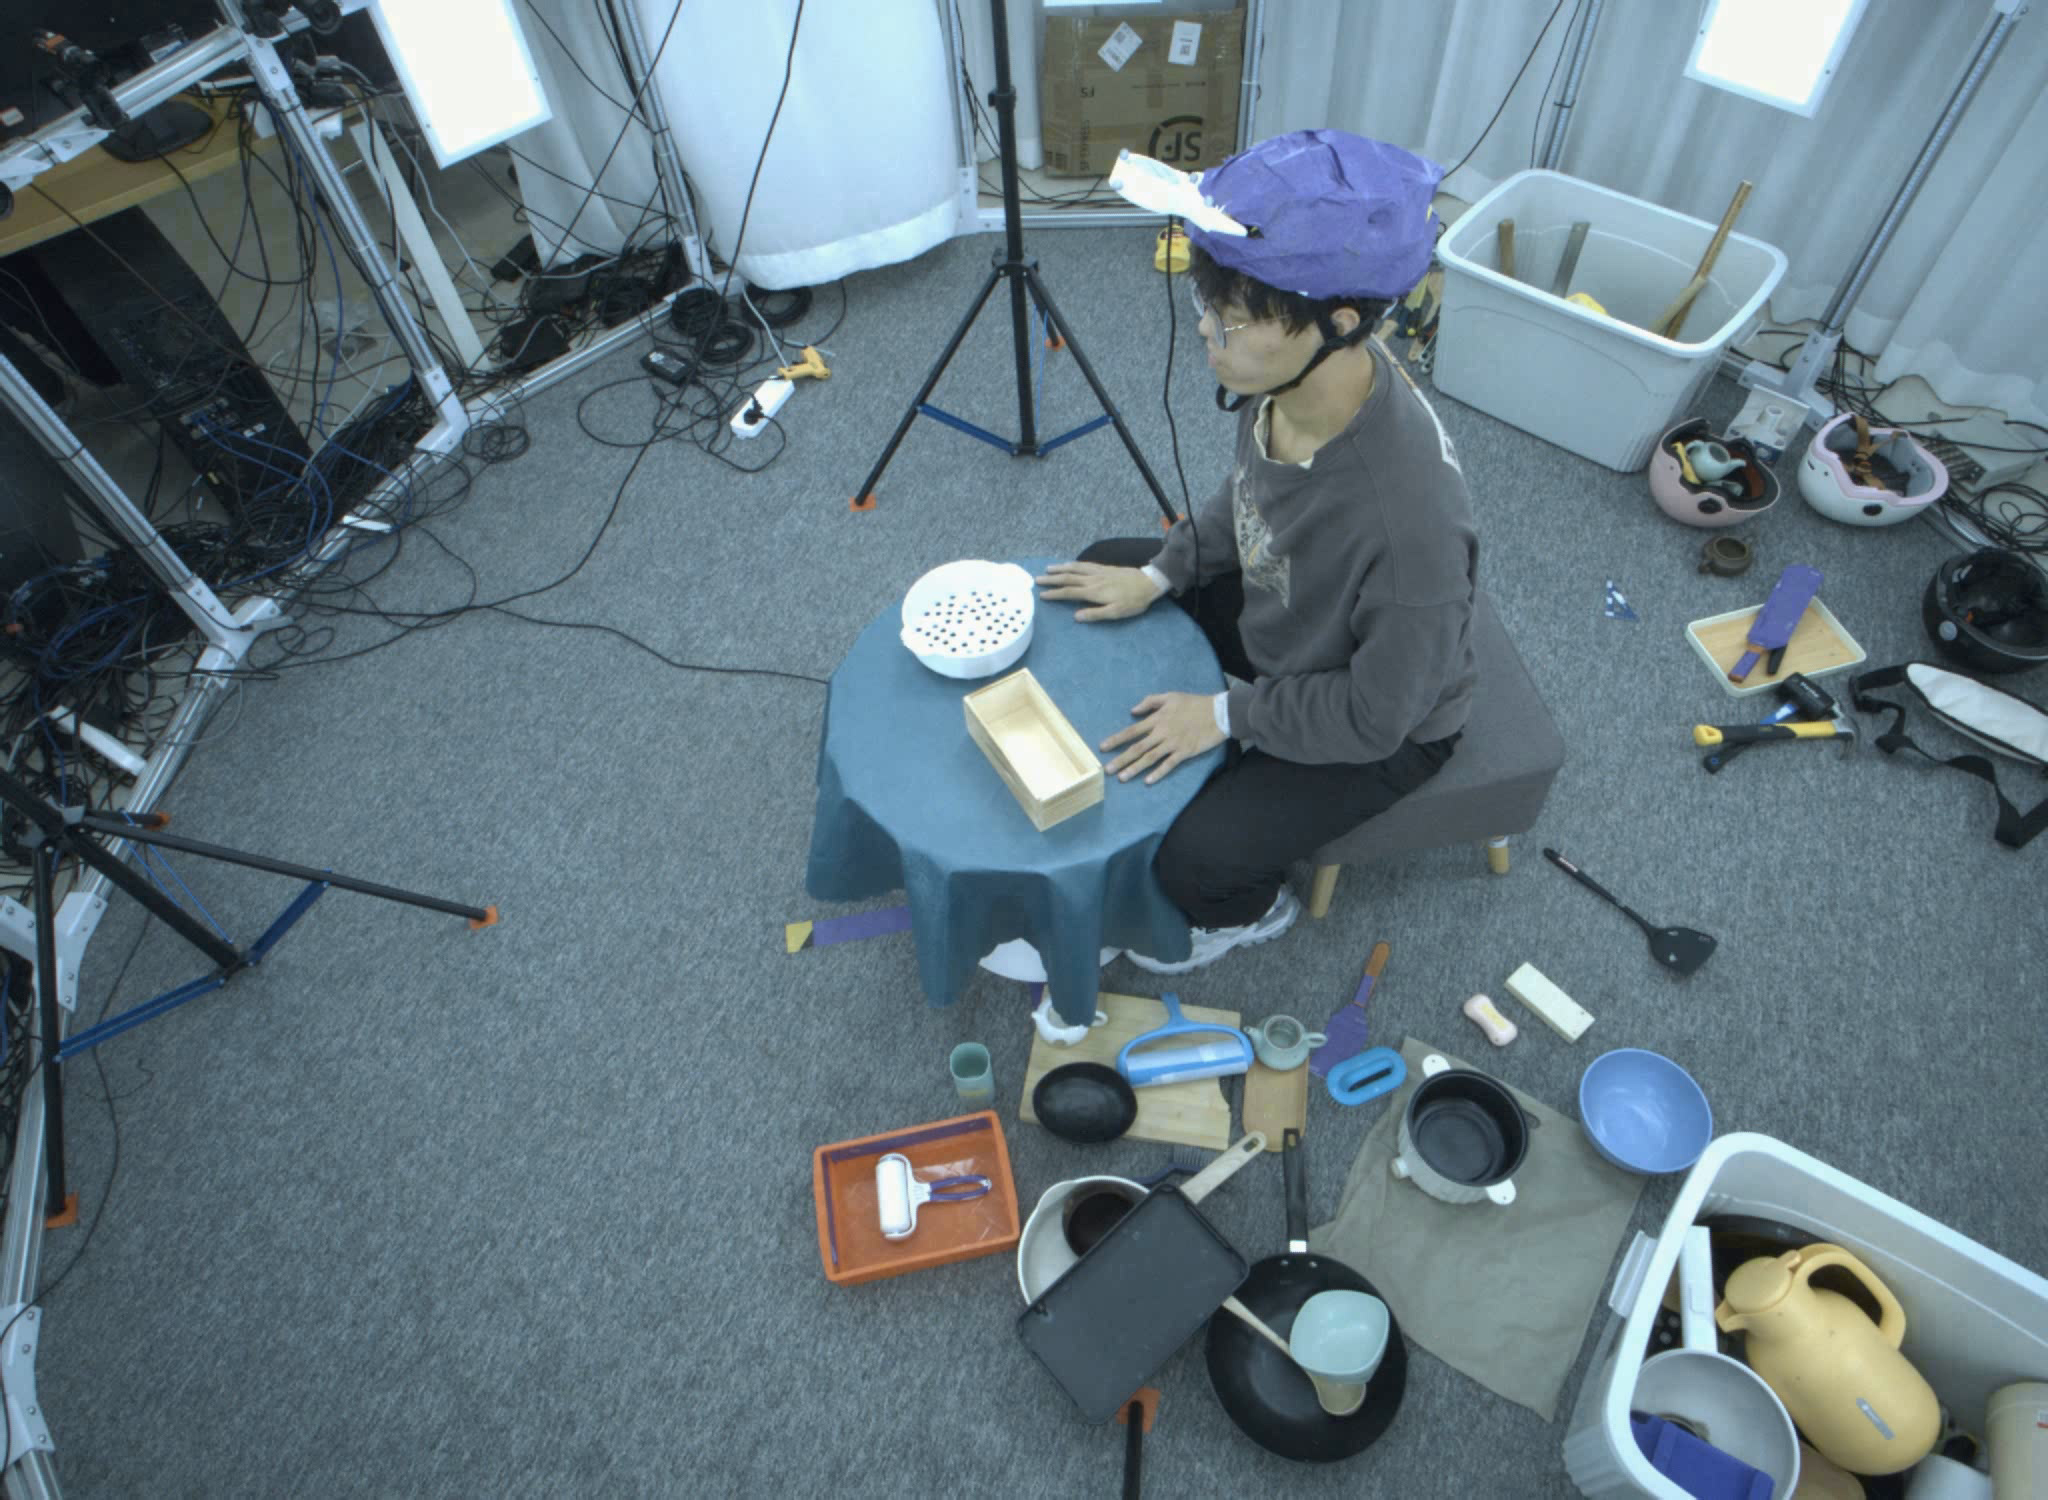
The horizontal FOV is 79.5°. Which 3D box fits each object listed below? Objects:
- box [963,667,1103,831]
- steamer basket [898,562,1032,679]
[{"bbox_3d":[0.012,-0.004,1.737,0.108,0.081,0.207,-27,58,-17],"label":"box"},{"bbox_3d":[-0.088,-0.198,1.889,0.232,0.070,0.198,-35,61,-23],"label":"steamer basket"}]
